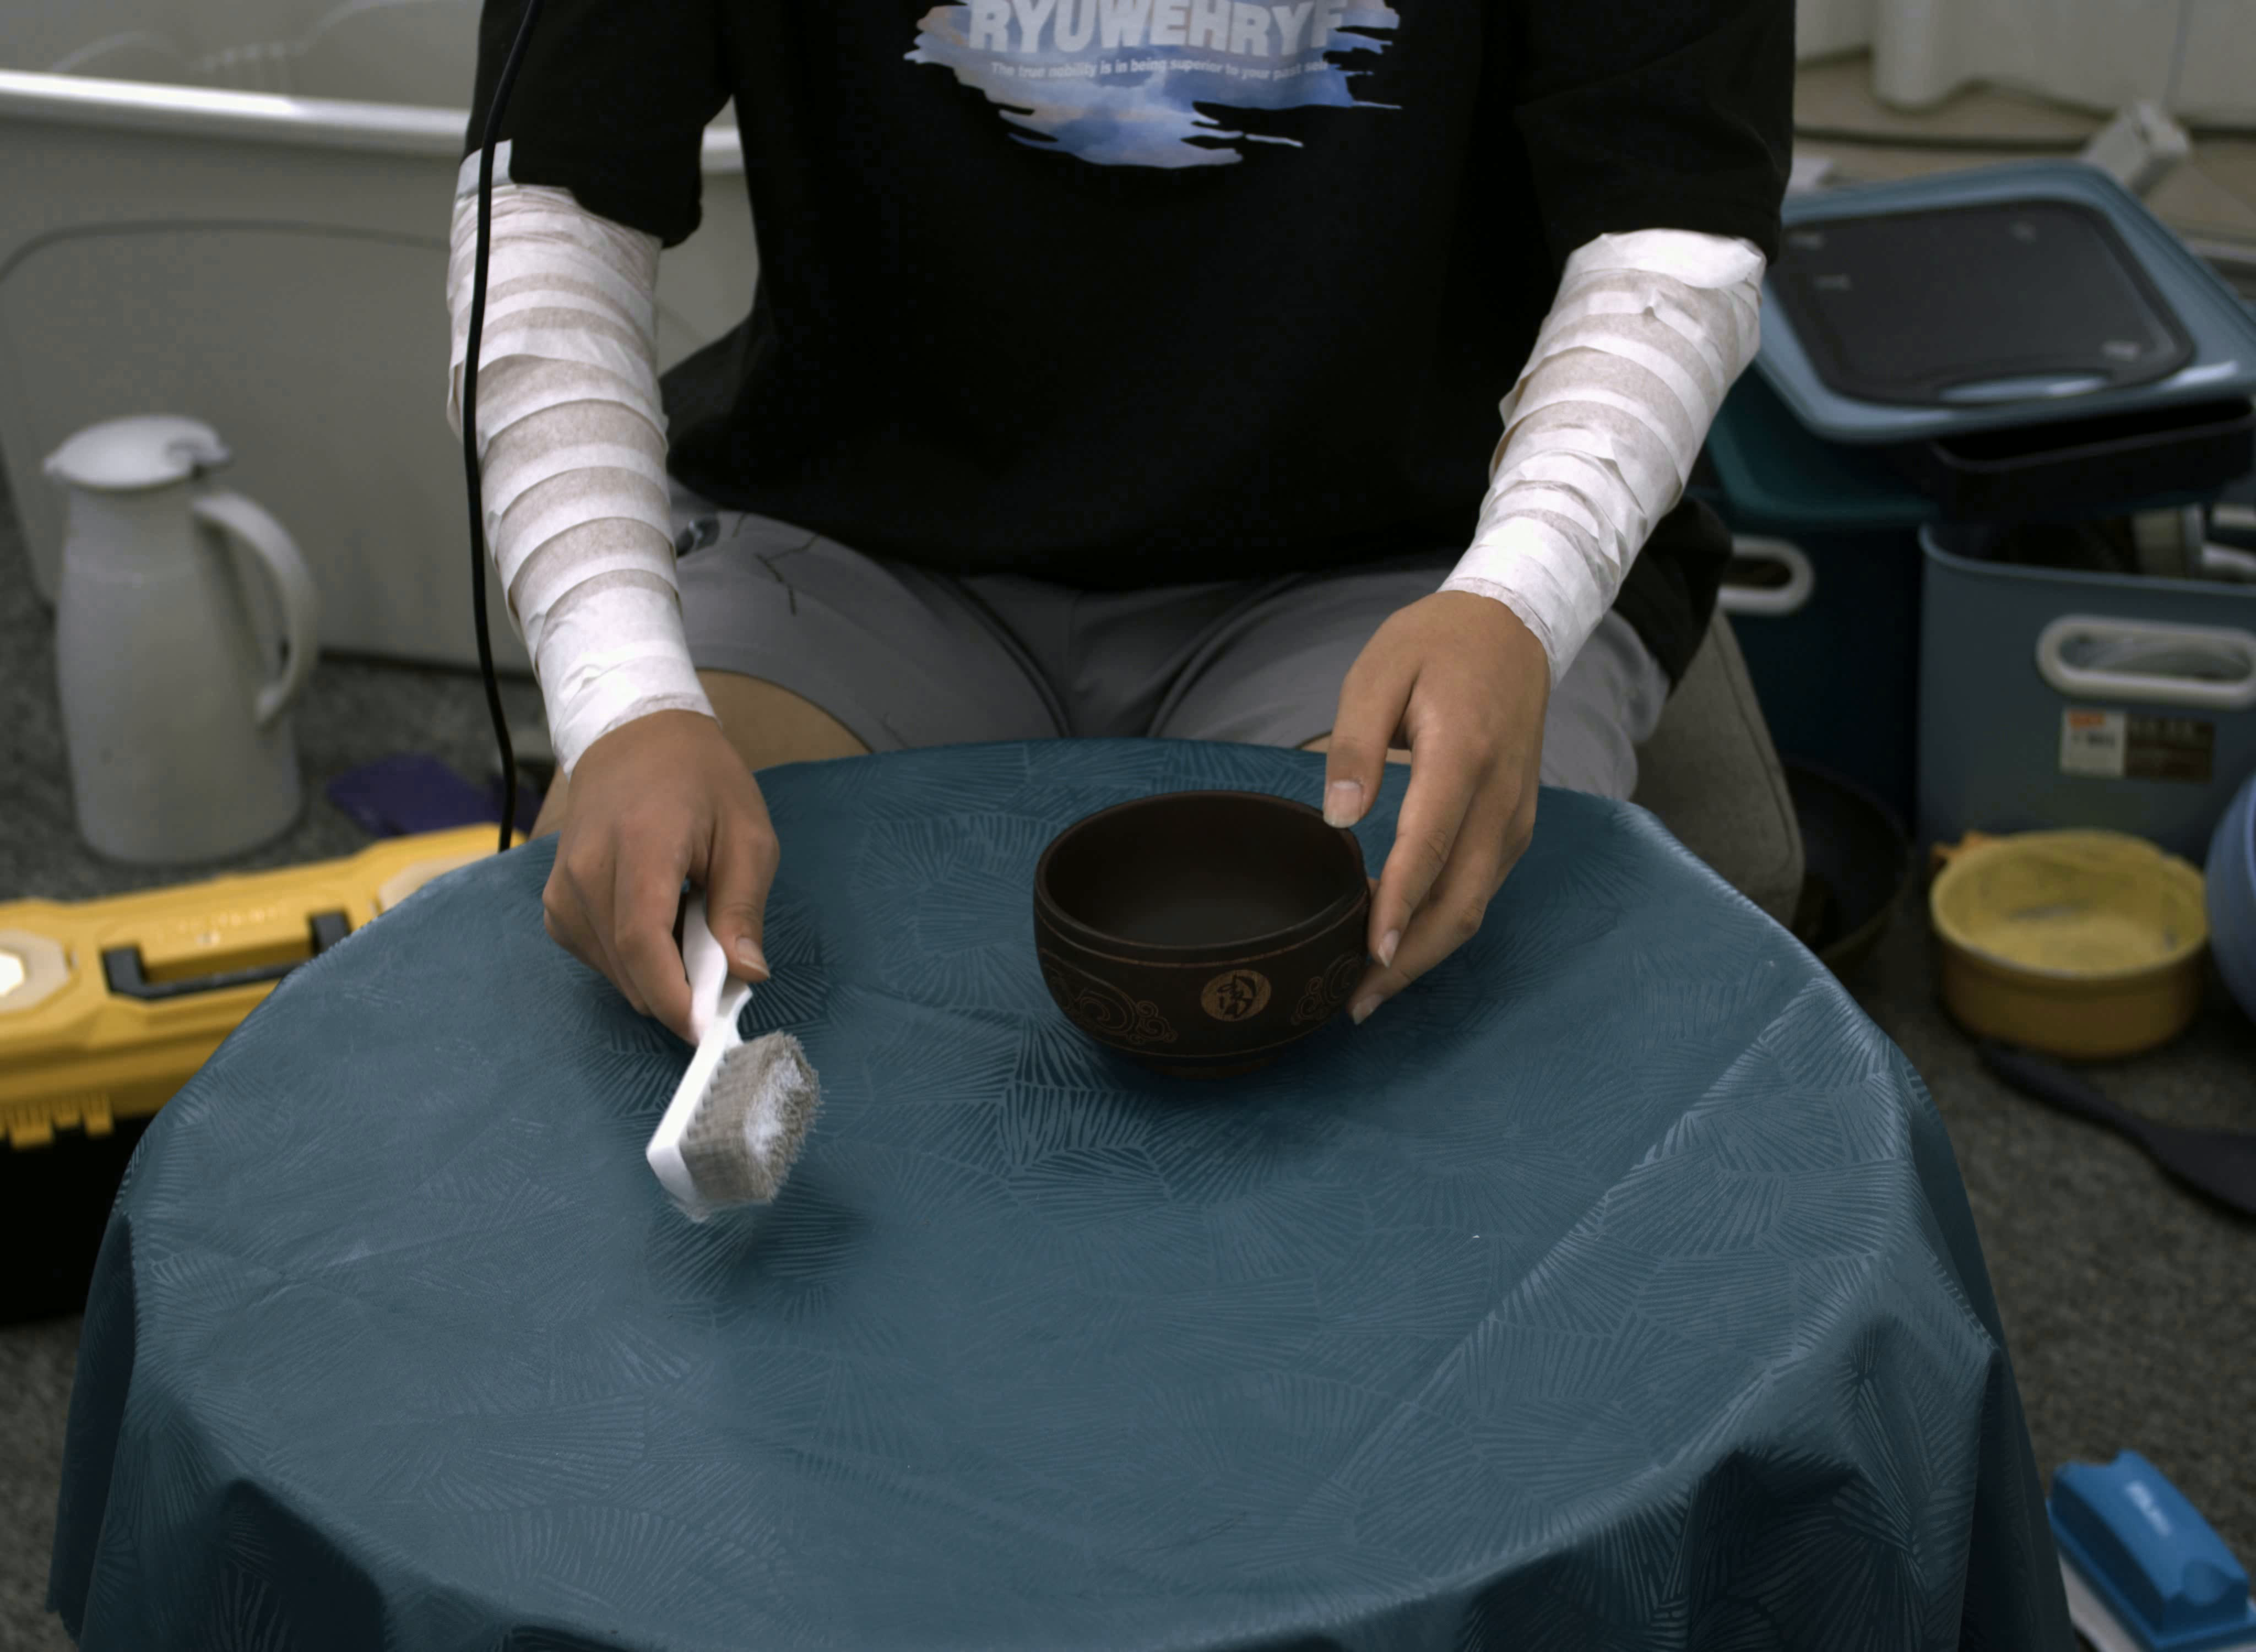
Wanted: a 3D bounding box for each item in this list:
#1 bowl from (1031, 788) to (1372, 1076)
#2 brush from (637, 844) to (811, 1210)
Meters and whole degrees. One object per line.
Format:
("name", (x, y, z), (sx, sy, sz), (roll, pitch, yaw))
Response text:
("bowl", (0.026, 0.043, 1.934), (0.117, 0.069, 0.119), (-3, 25, 2))
("brush", (-0.129, 0.059, 1.910), (0.050, 0.034, 0.247), (-22, 22, 12))
